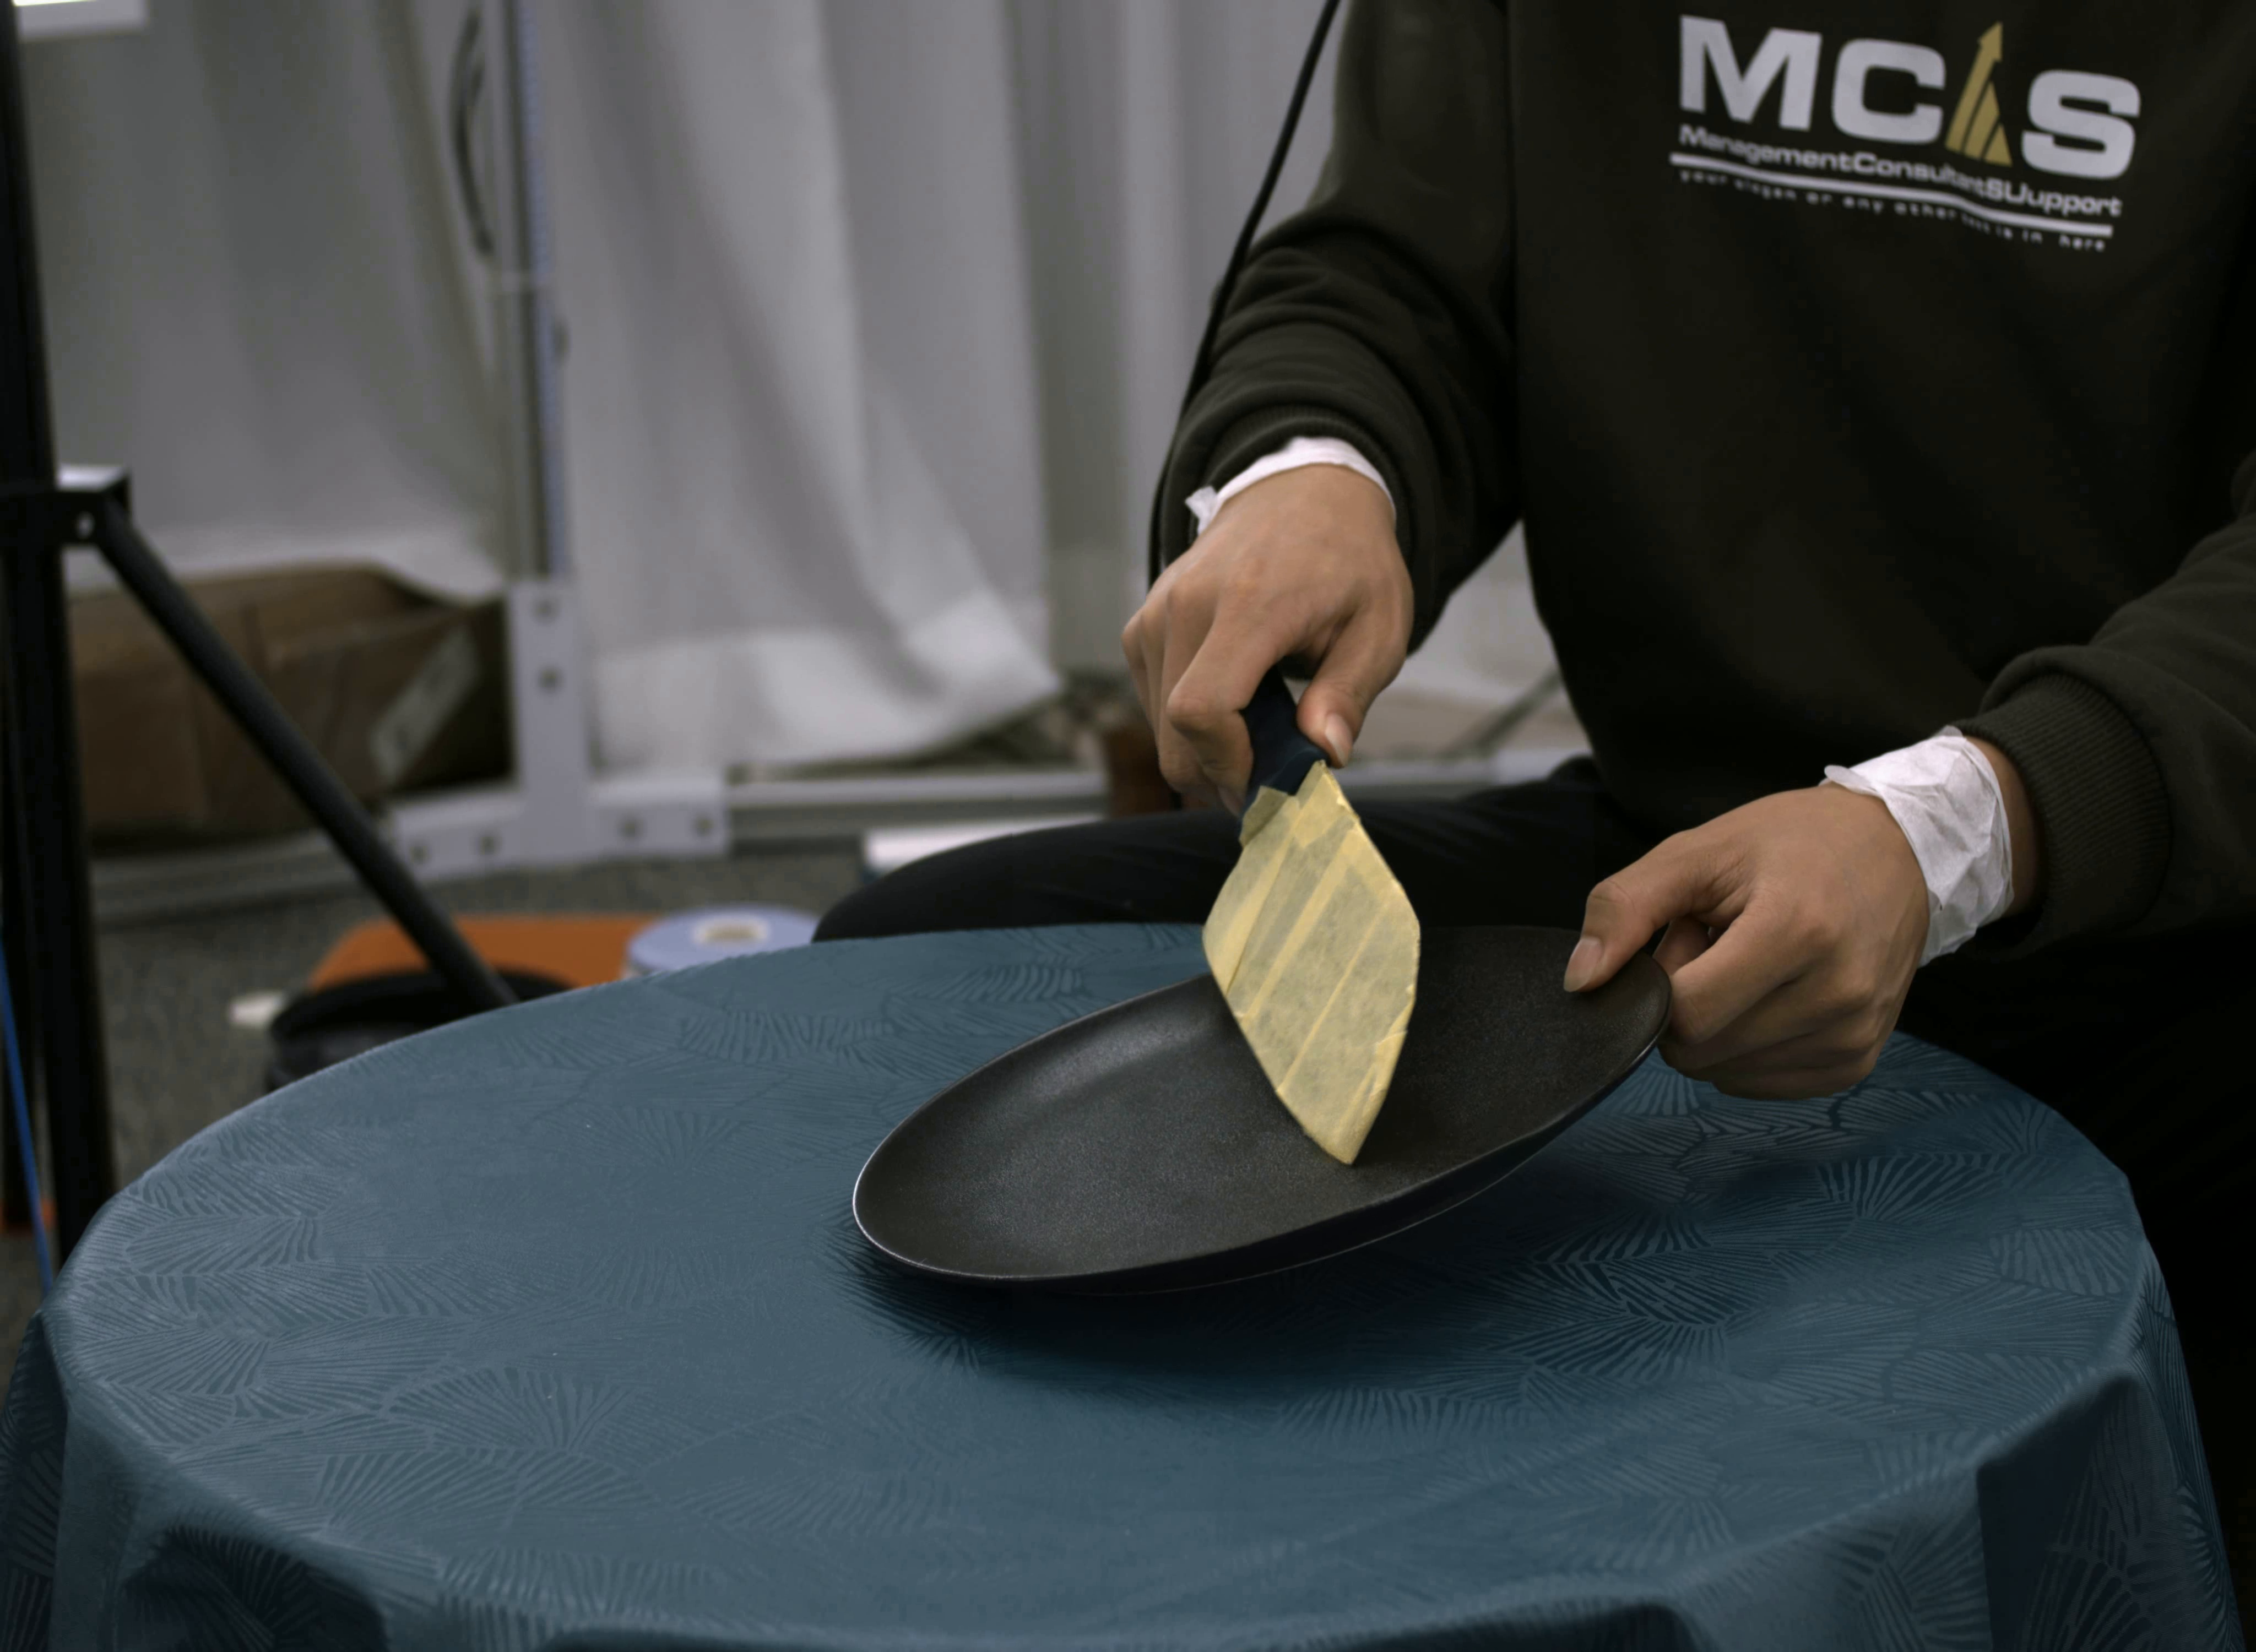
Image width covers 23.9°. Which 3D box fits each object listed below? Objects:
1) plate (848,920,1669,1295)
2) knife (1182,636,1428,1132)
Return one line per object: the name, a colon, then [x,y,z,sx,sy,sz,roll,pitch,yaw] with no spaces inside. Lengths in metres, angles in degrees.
plate: [0.039,0.085,1.519,0.244,0.023,0.246,-16,16,3]
knife: [0.046,0.013,1.599,0.027,0.081,0.293,27,18,-20]
